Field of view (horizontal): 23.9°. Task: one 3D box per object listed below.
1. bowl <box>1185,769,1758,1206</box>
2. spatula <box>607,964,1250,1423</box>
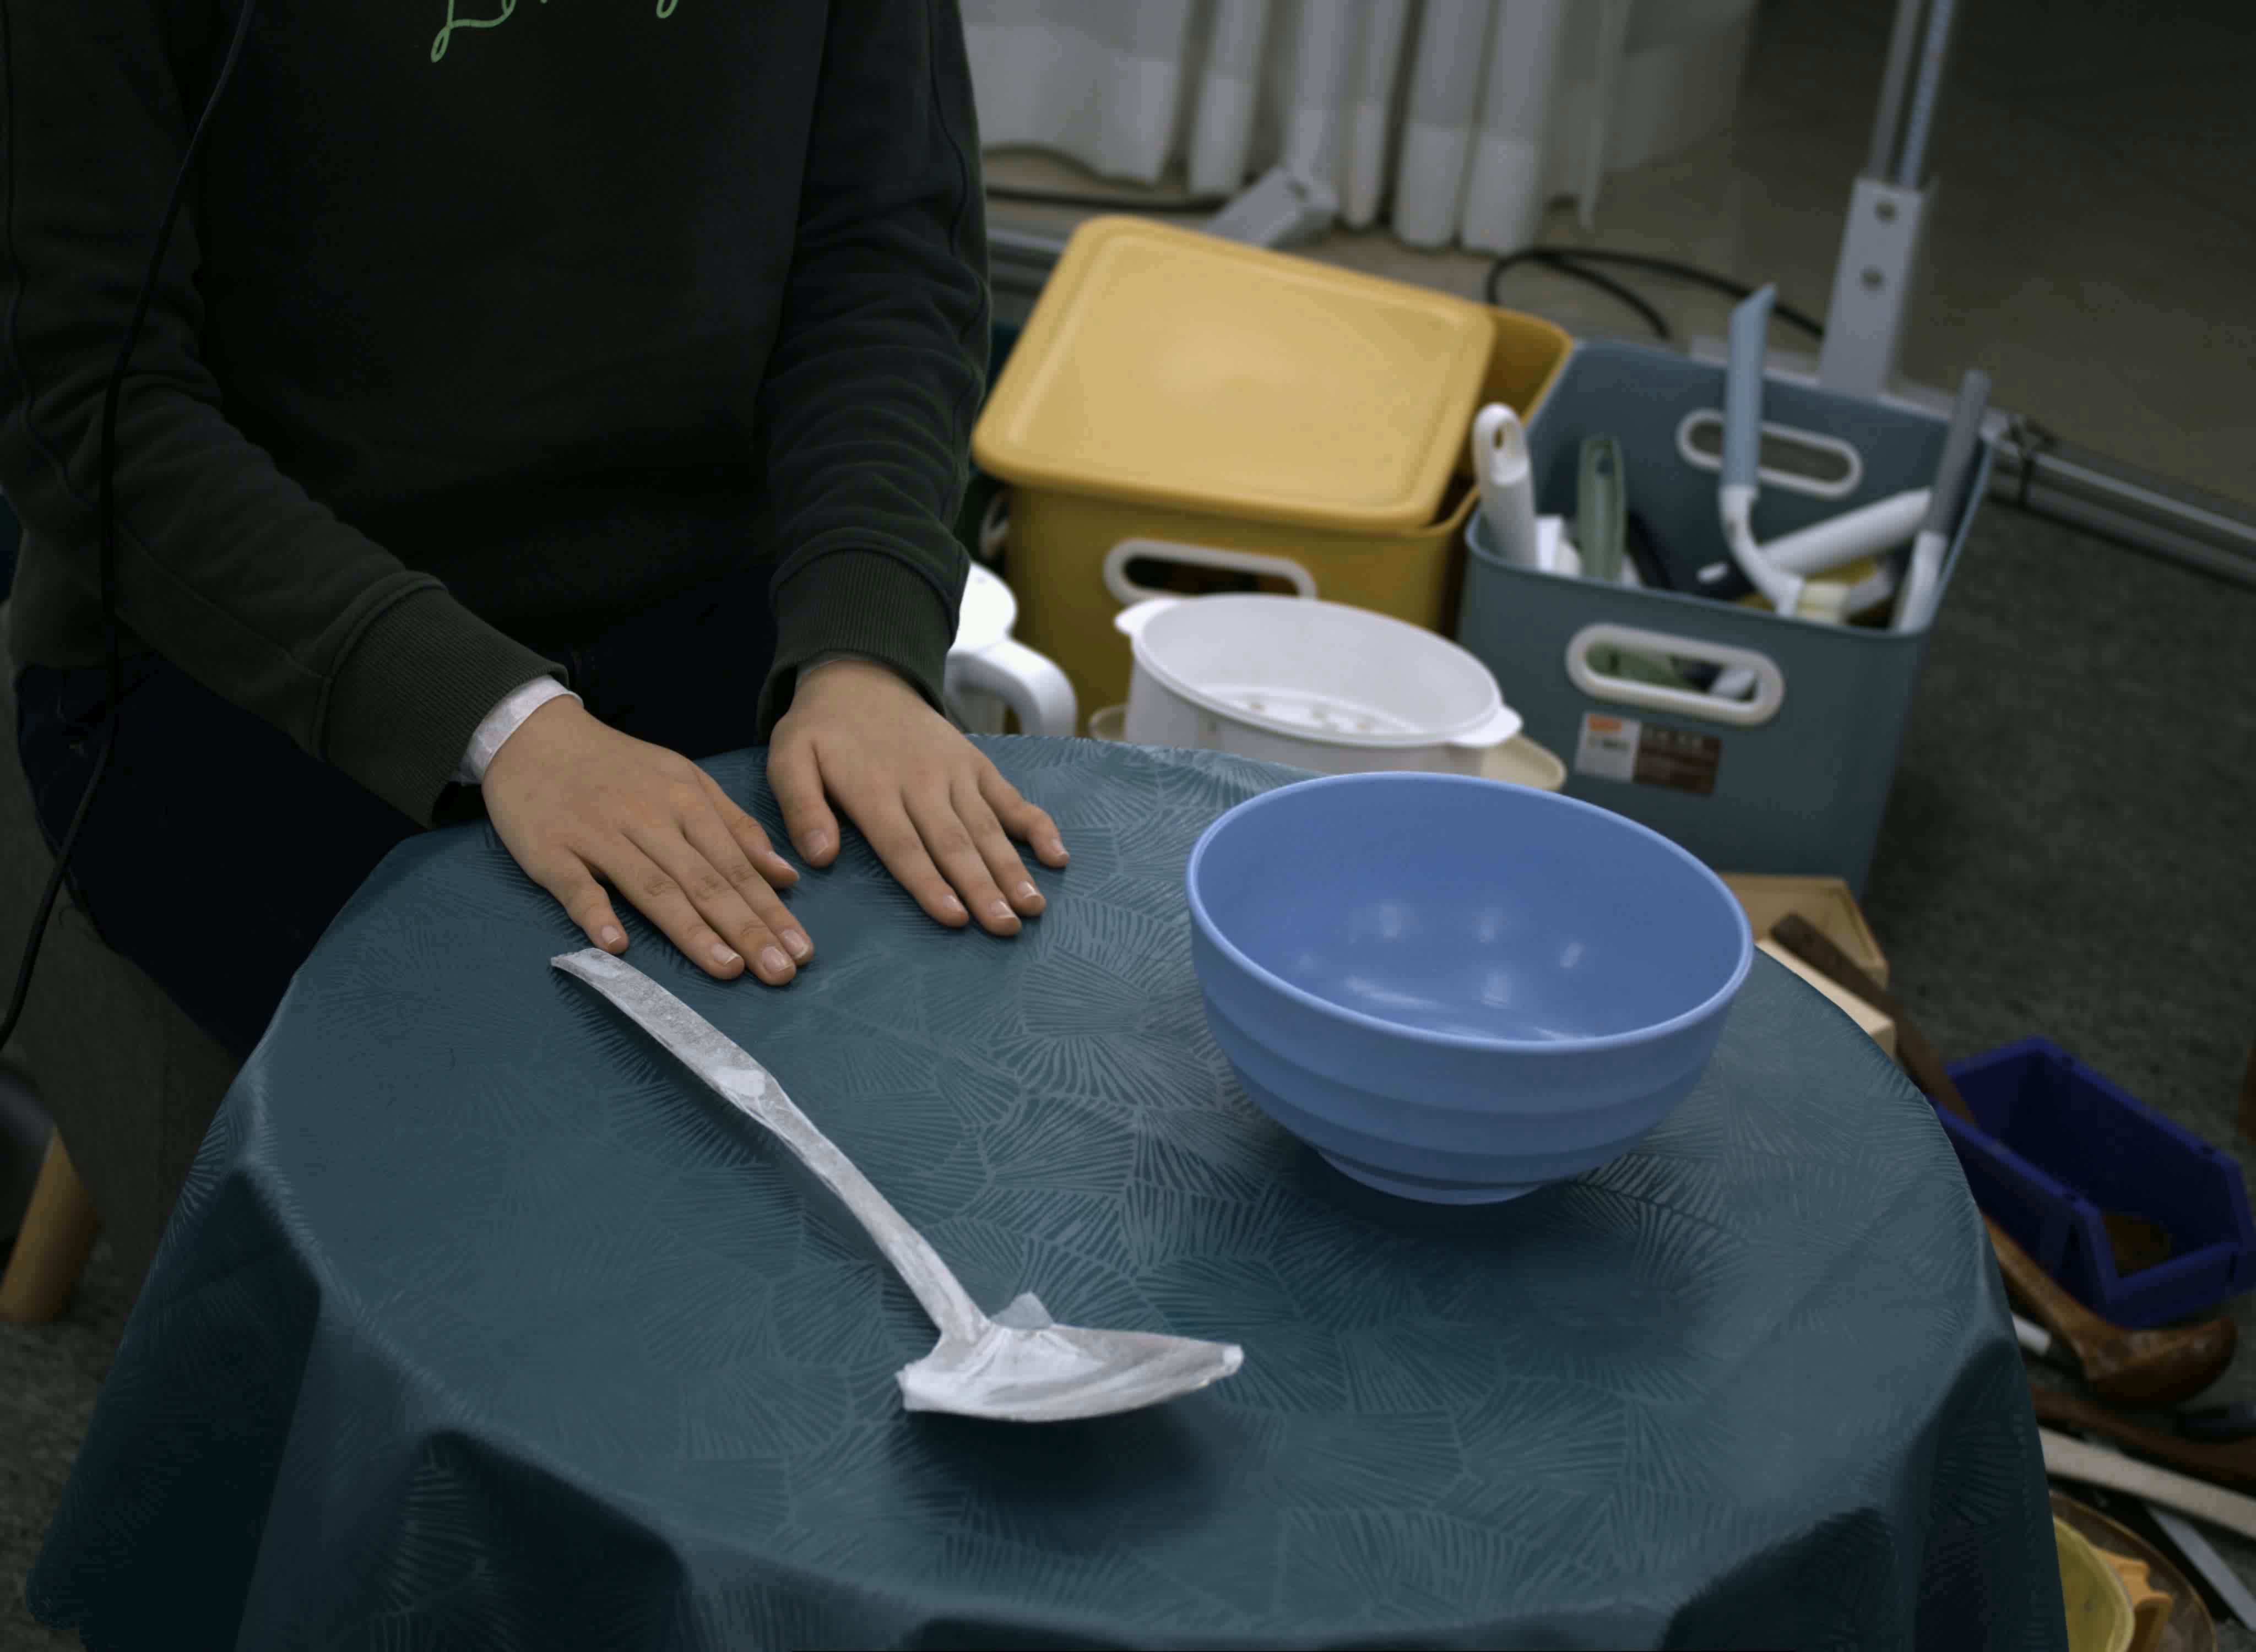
[{"bbox_3d":[0.112,0.067,1.832,0.196,0.095,0.198,5,28,-3],"label":"bowl"},{"bbox_3d":[-0.090,0.113,1.758,0.098,0.044,0.368,-12,32,-29],"label":"spatula"}]
